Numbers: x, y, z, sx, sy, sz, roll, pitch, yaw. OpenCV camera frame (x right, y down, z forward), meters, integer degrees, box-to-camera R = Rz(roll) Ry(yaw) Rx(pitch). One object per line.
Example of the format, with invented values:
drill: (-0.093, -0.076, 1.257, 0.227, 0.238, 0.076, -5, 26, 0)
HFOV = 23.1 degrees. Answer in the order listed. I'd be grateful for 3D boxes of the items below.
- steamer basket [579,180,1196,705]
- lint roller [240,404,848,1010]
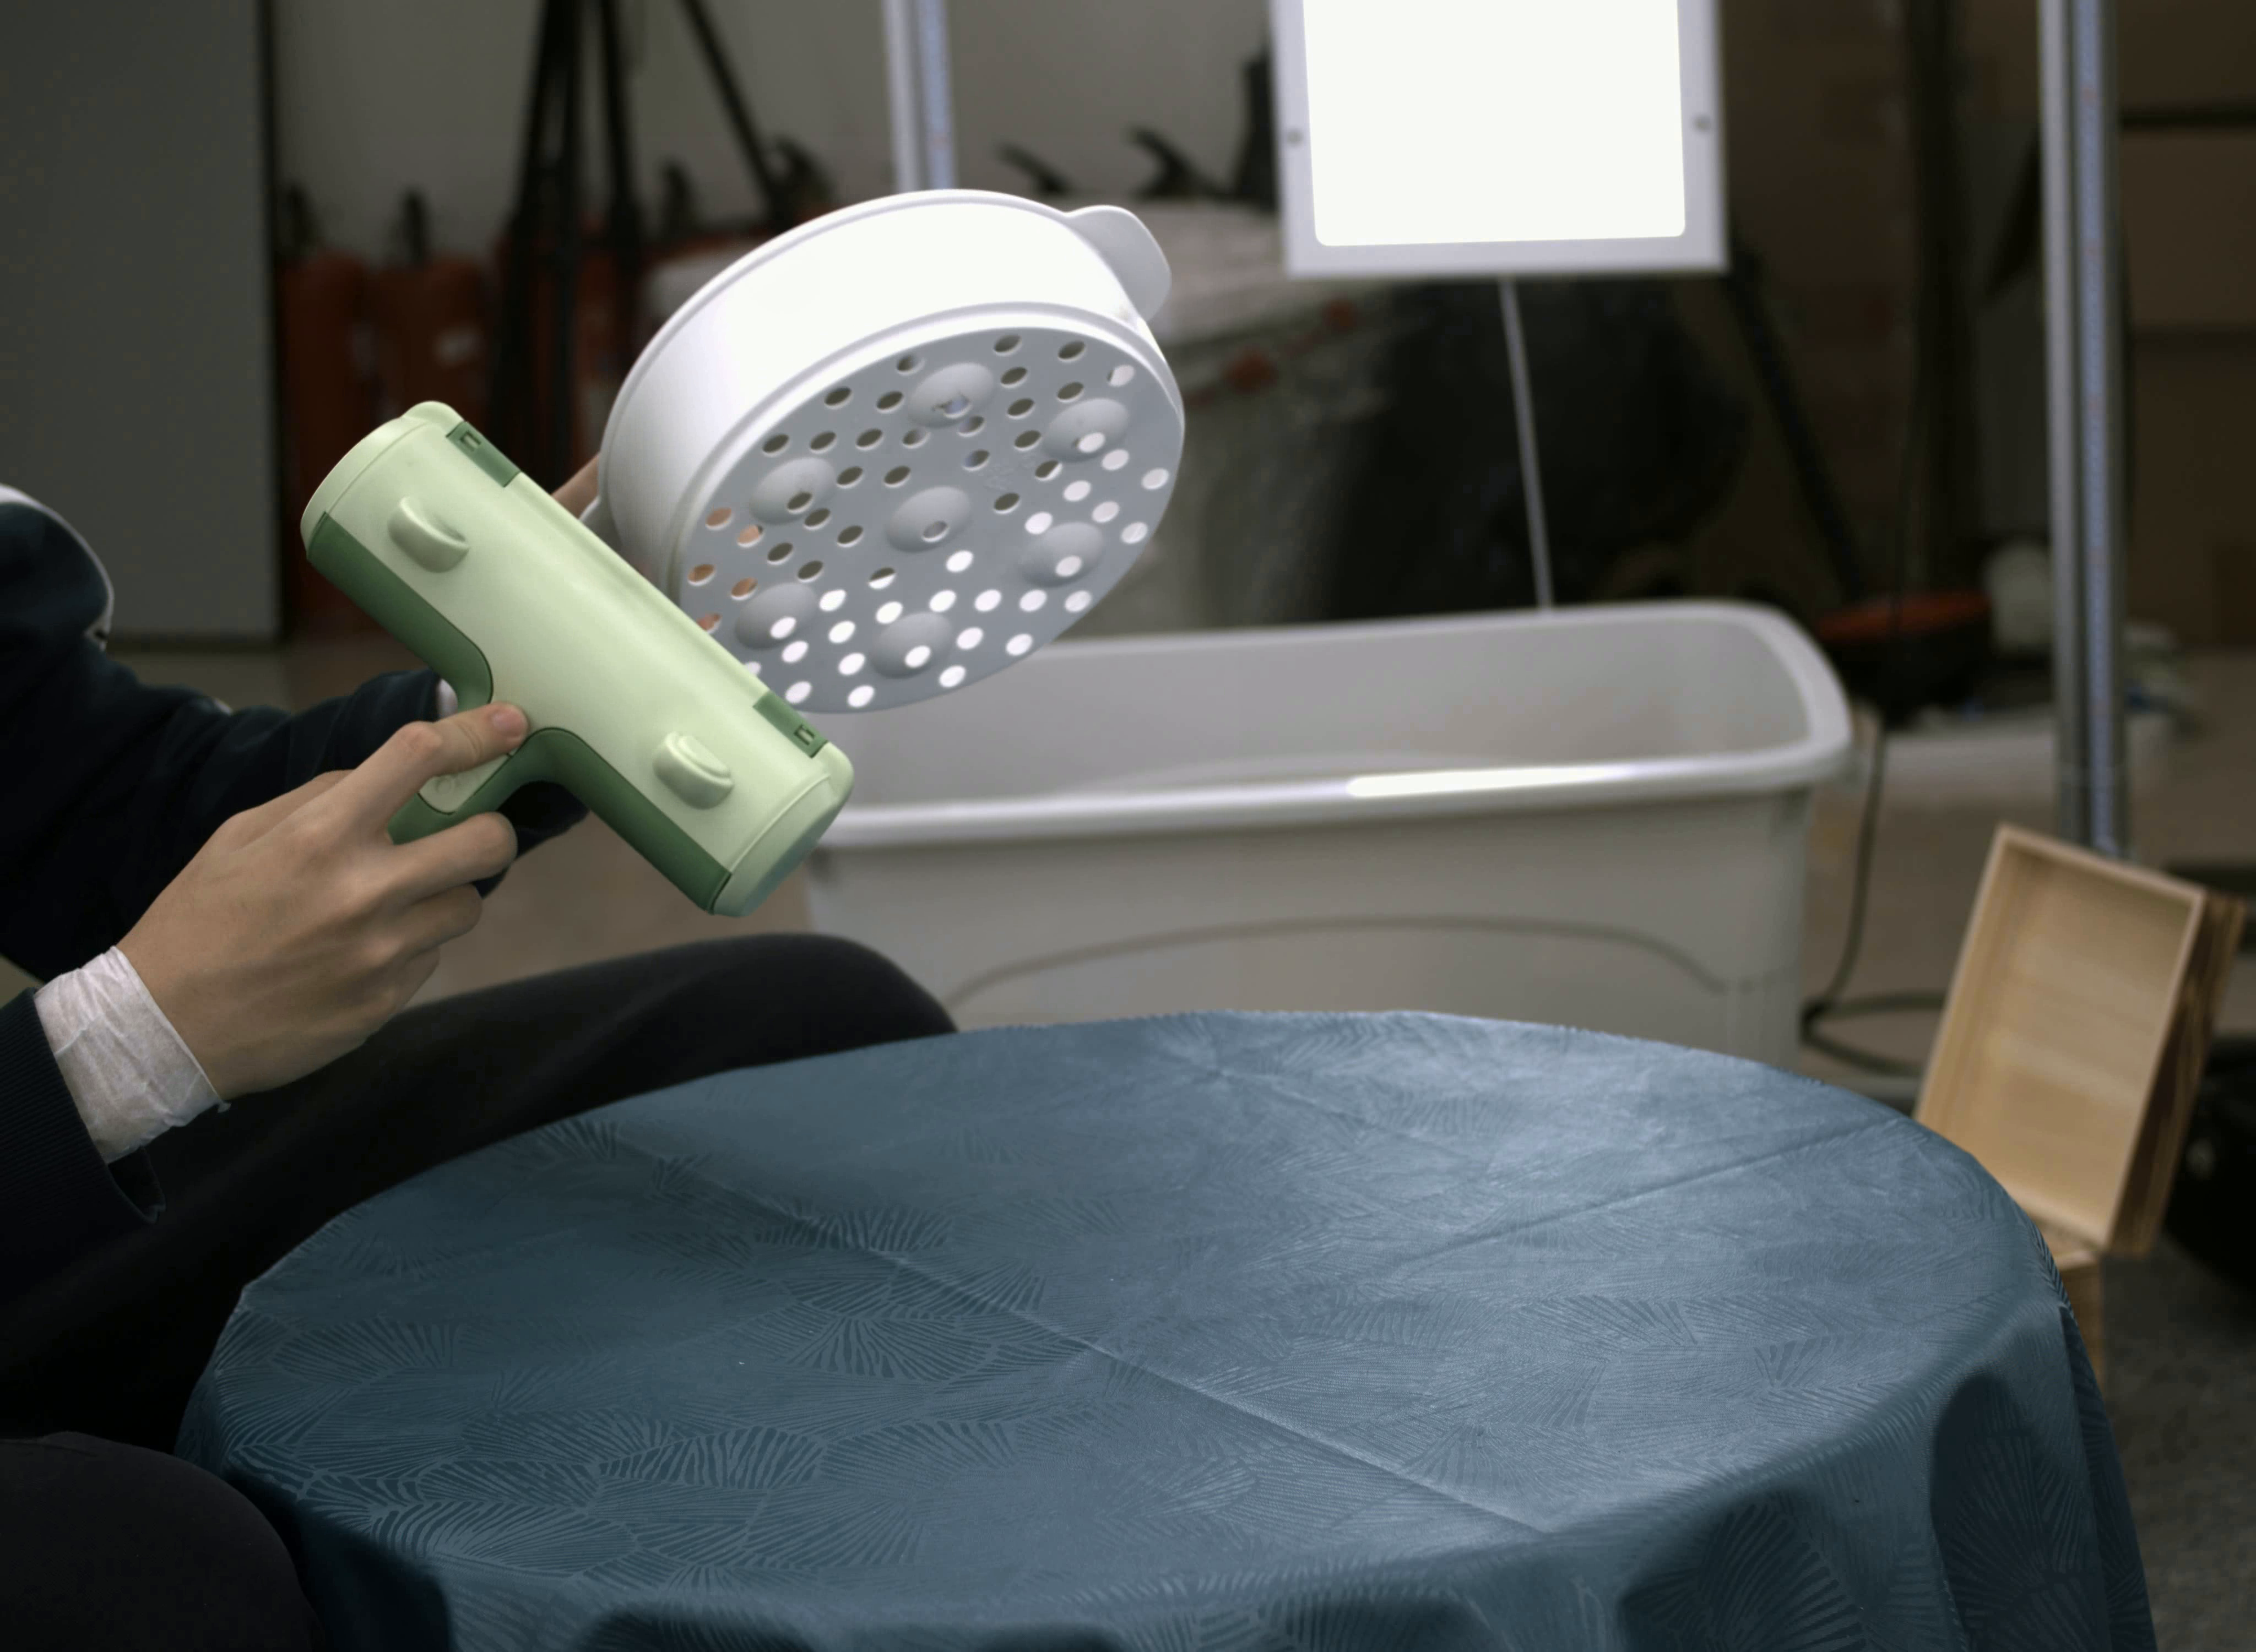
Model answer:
steamer basket: (-0.074, -0.126, 1.888, 0.231, 0.200, 0.070, -29, 55, 6)
lint roller: (-0.218, -0.016, 1.773, 0.181, 0.199, 0.083, -46, -8, -19)
